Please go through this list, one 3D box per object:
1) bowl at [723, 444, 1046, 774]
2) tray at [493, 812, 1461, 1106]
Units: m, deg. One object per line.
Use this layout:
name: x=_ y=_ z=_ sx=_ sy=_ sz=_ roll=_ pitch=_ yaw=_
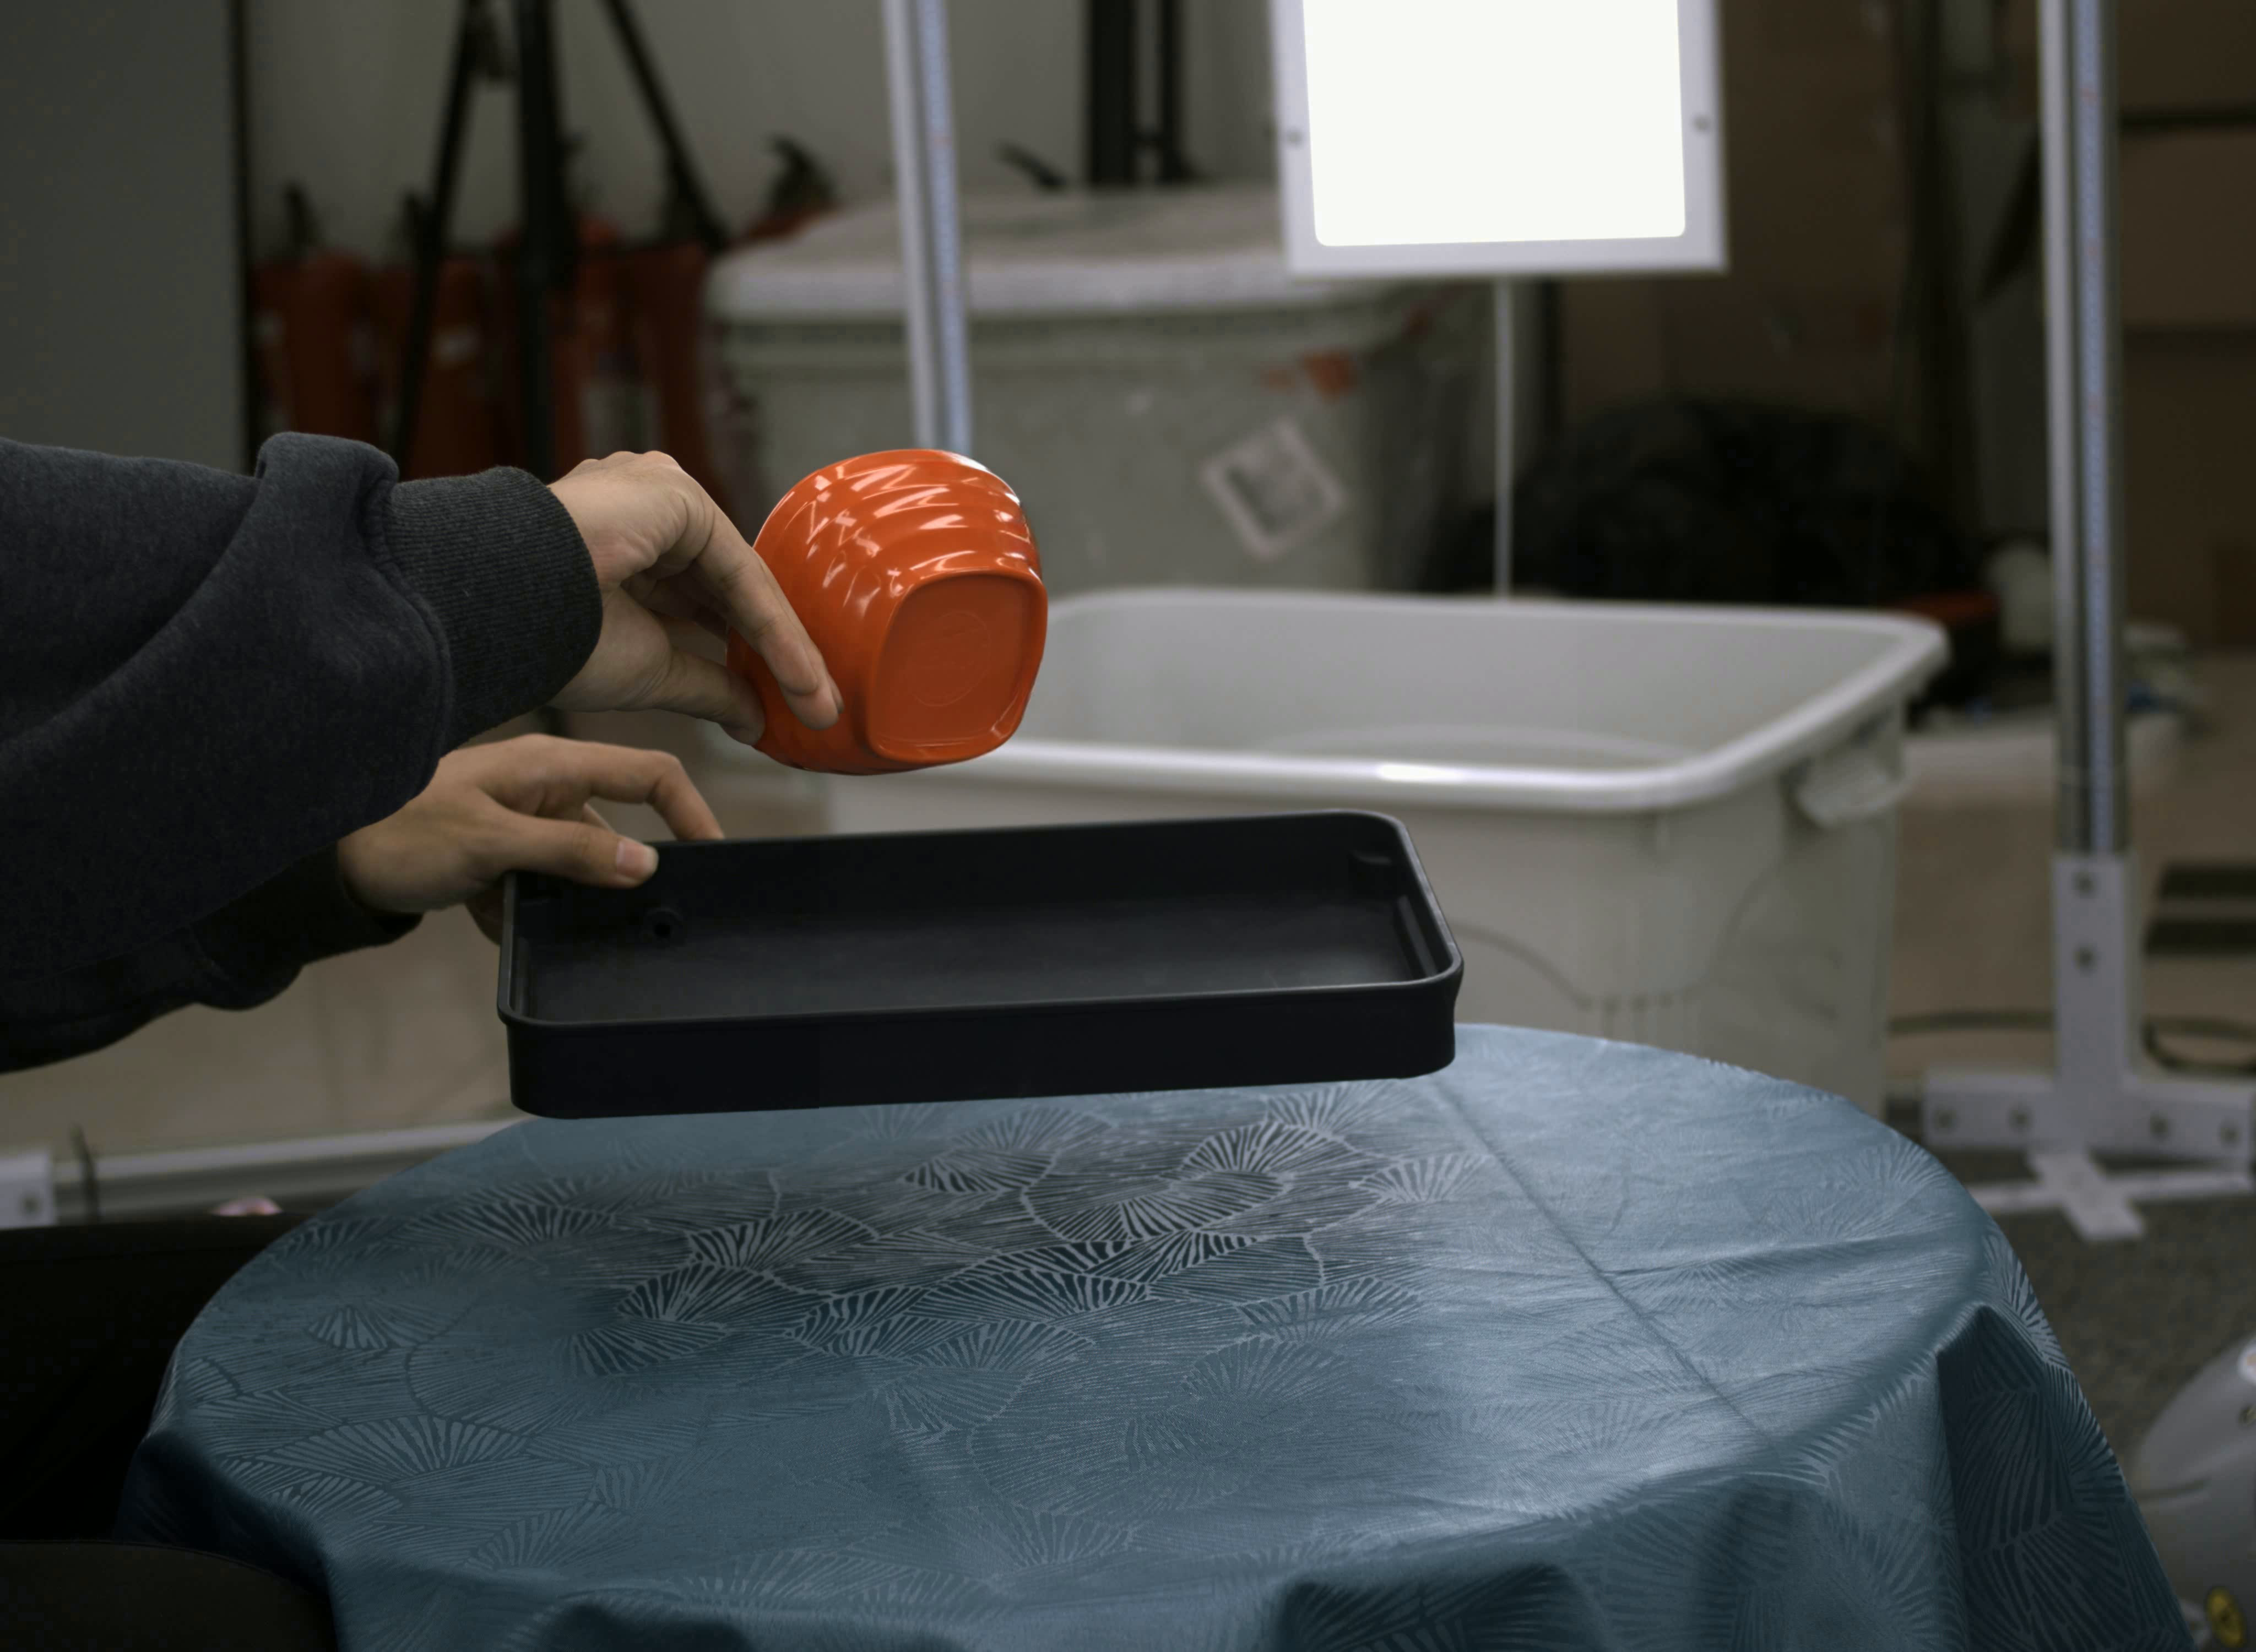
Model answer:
bowl: x=-0.069 y=-0.061 z=1.747 sx=0.116 sy=0.120 sz=0.052 roll=-13 pitch=33 yaw=-33
tray: x=-0.054 y=0.043 z=1.866 sx=0.316 sy=0.037 sz=0.184 roll=-2 pitch=18 yaw=-3
